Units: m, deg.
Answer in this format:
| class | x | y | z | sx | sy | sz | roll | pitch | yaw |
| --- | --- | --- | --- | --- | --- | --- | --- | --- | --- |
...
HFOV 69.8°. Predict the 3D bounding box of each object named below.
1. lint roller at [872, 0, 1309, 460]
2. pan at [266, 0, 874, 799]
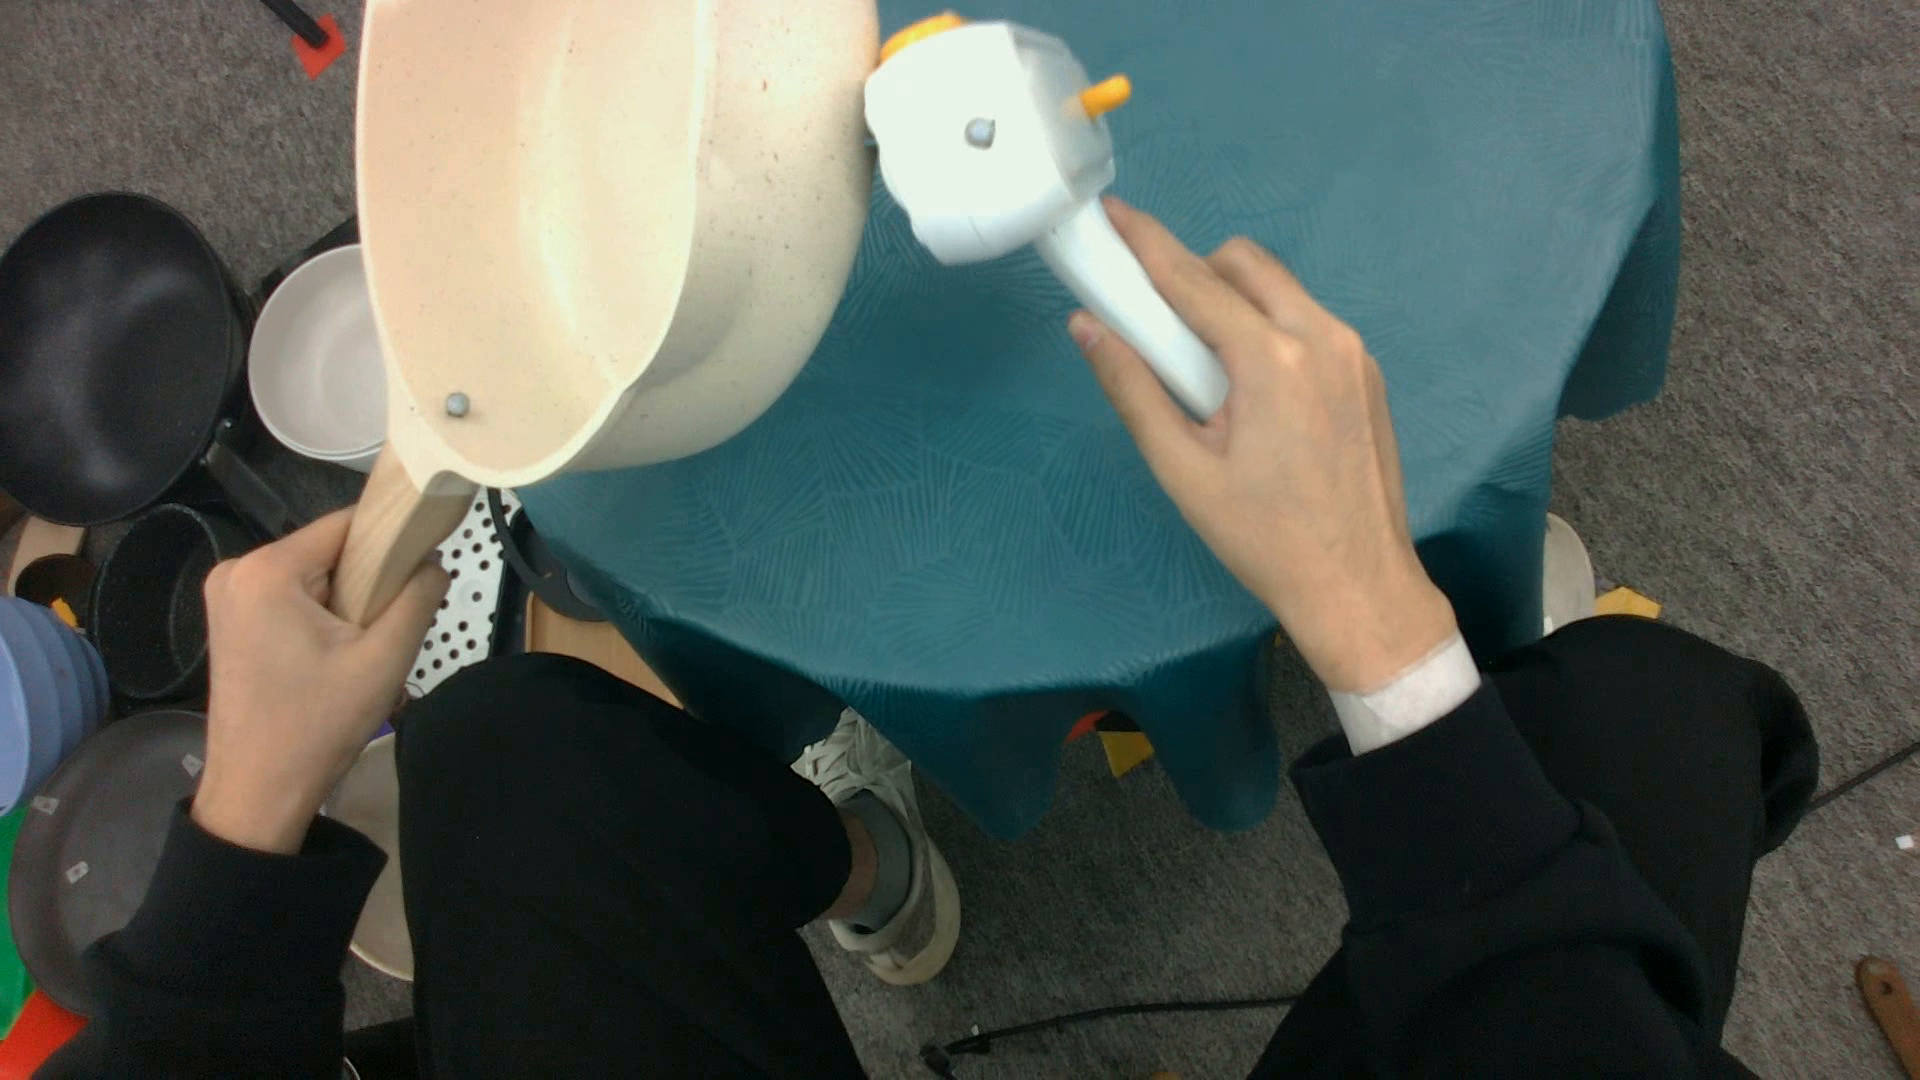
| class | x | y | z | sx | sy | sz | roll | pitch | yaw |
| --- | --- | --- | --- | --- | --- | --- | --- | --- | --- |
| lint roller | 0.050 | -0.100 | 0.471 | 0.074 | 0.193 | 0.192 | -29 | 105 | 14 |
| pan | -0.167 | -0.076 | 0.511 | 0.263 | 0.102 | 0.433 | 45 | 122 | 33 |
